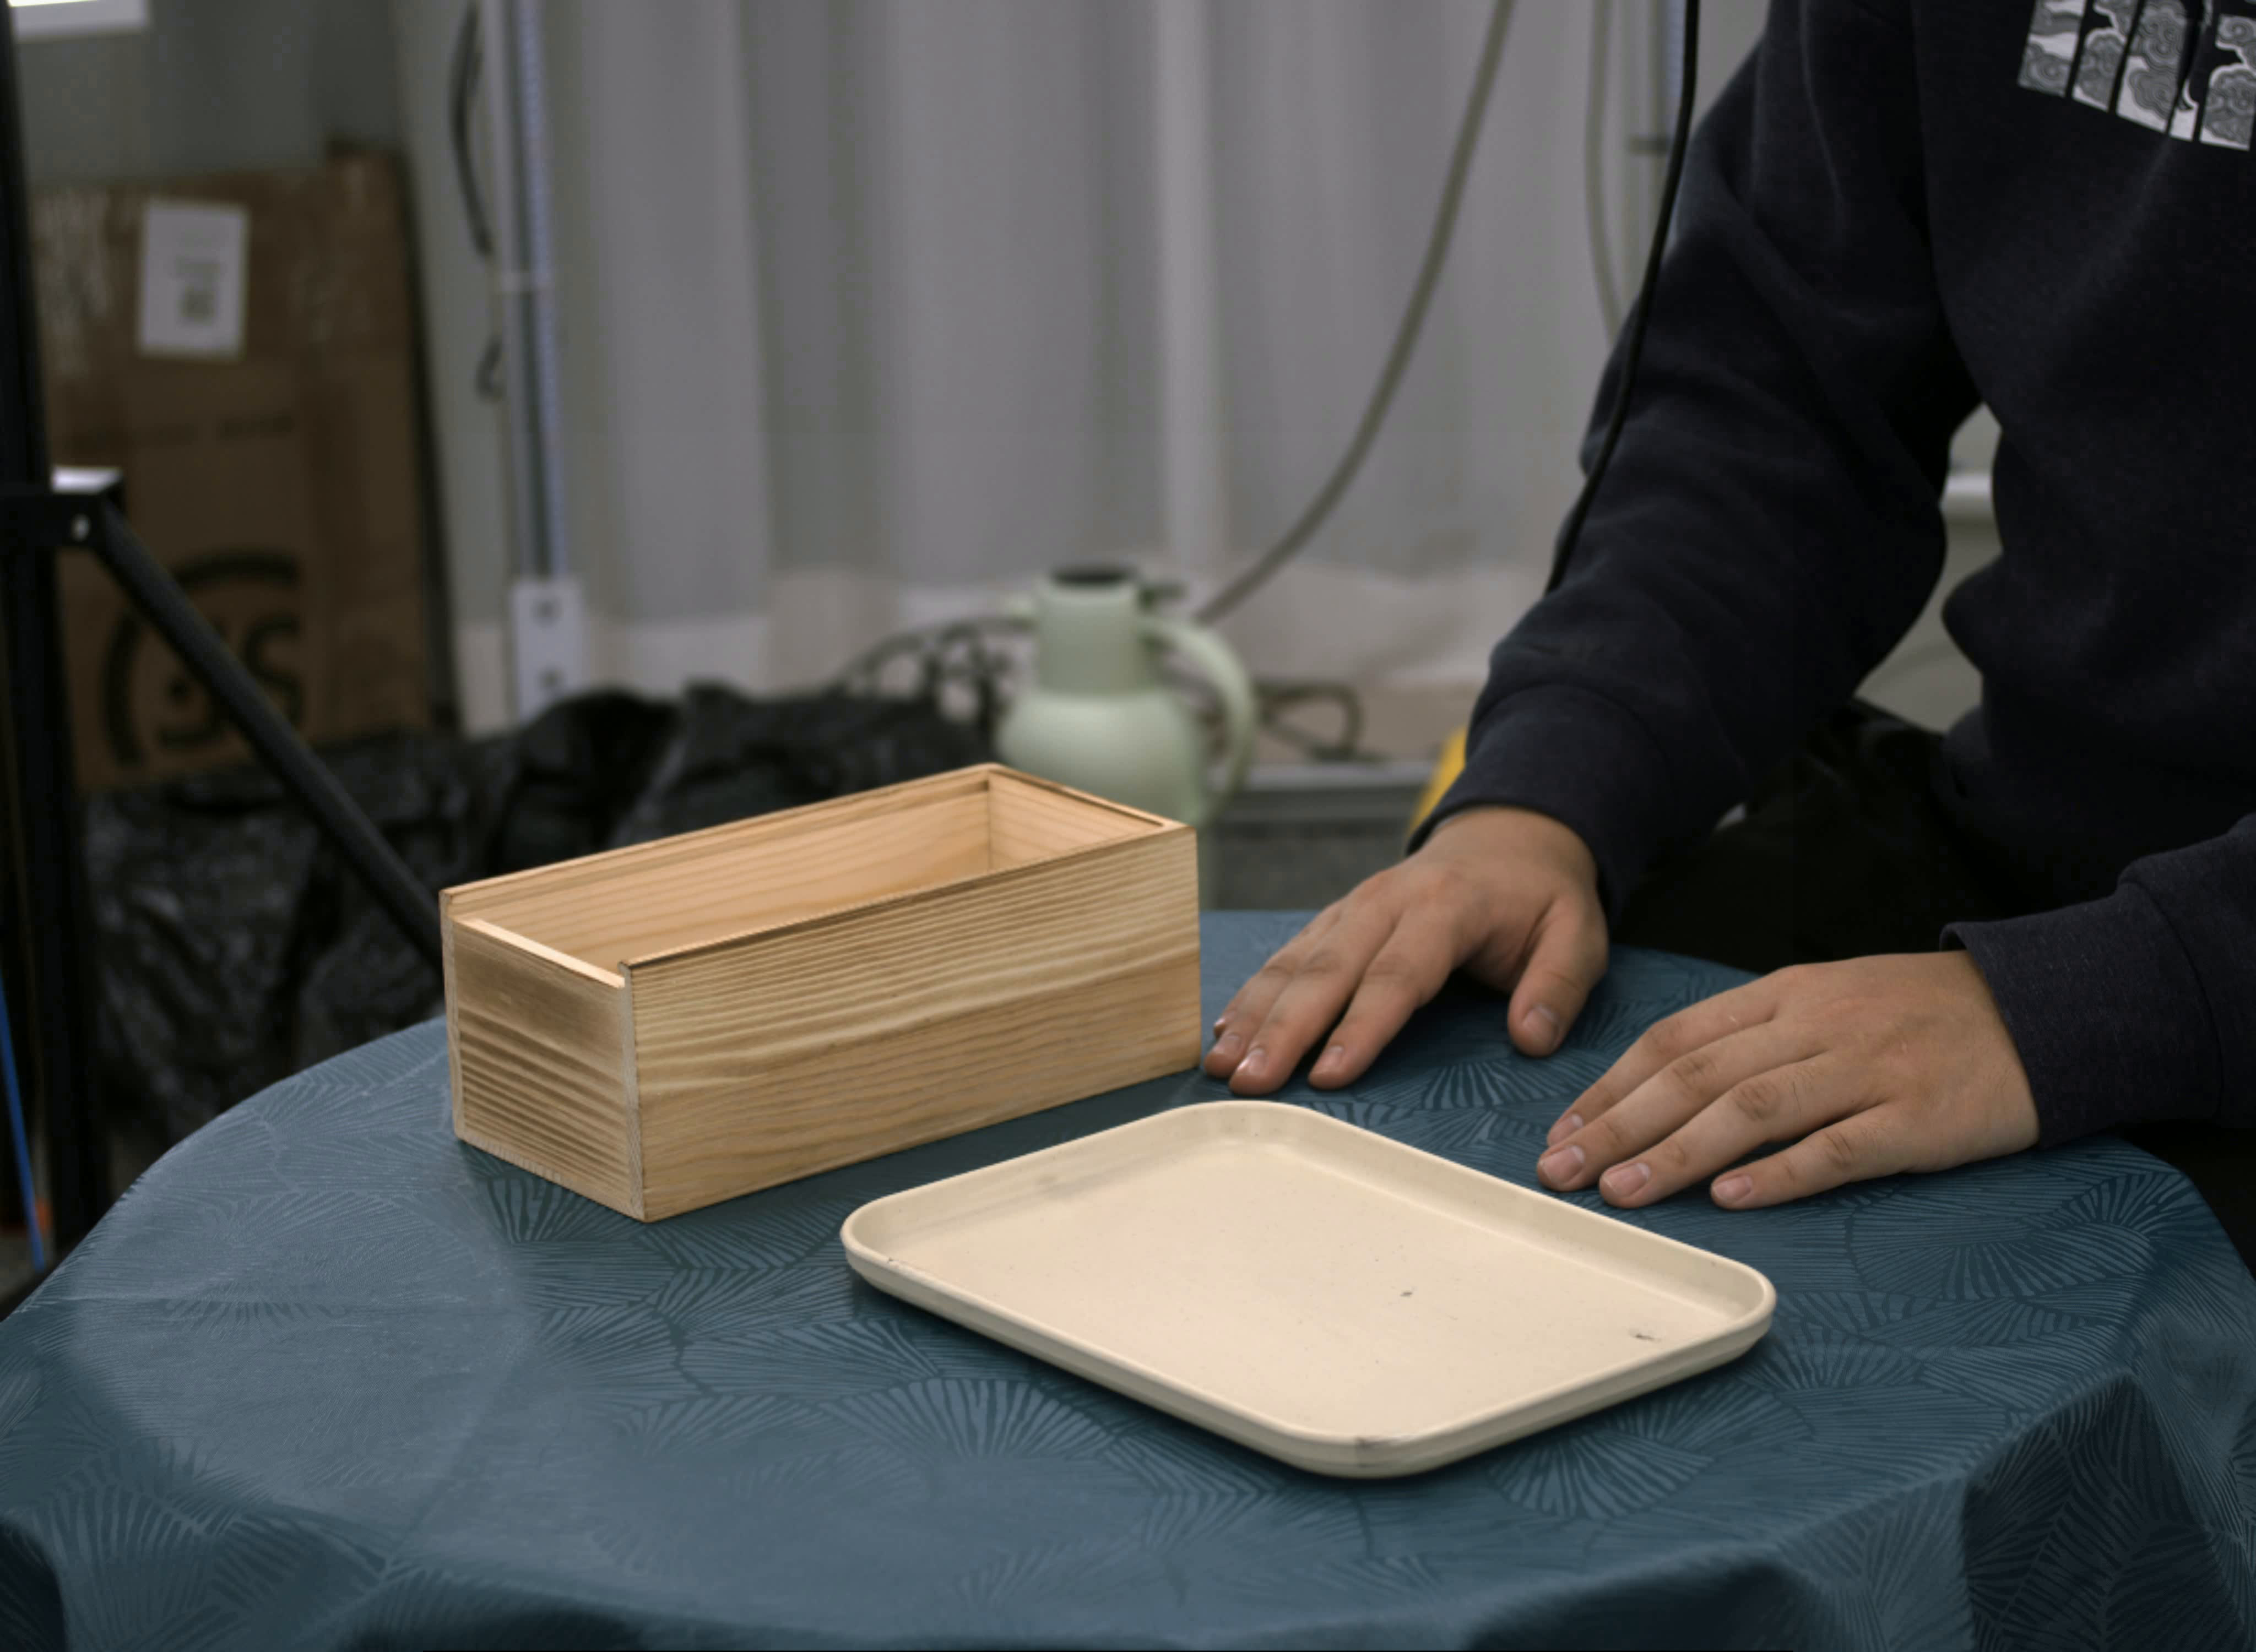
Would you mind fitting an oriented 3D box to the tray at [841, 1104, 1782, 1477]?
[{"bbox_3d":[0.048,0.126,1.456,0.167,0.017,0.245,-14,19,-36],"label":"tray"}]

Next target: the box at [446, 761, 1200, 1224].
[{"bbox_3d":[-0.091,0.048,1.638,0.206,0.080,0.110,-14,20,-35],"label":"box"}]
